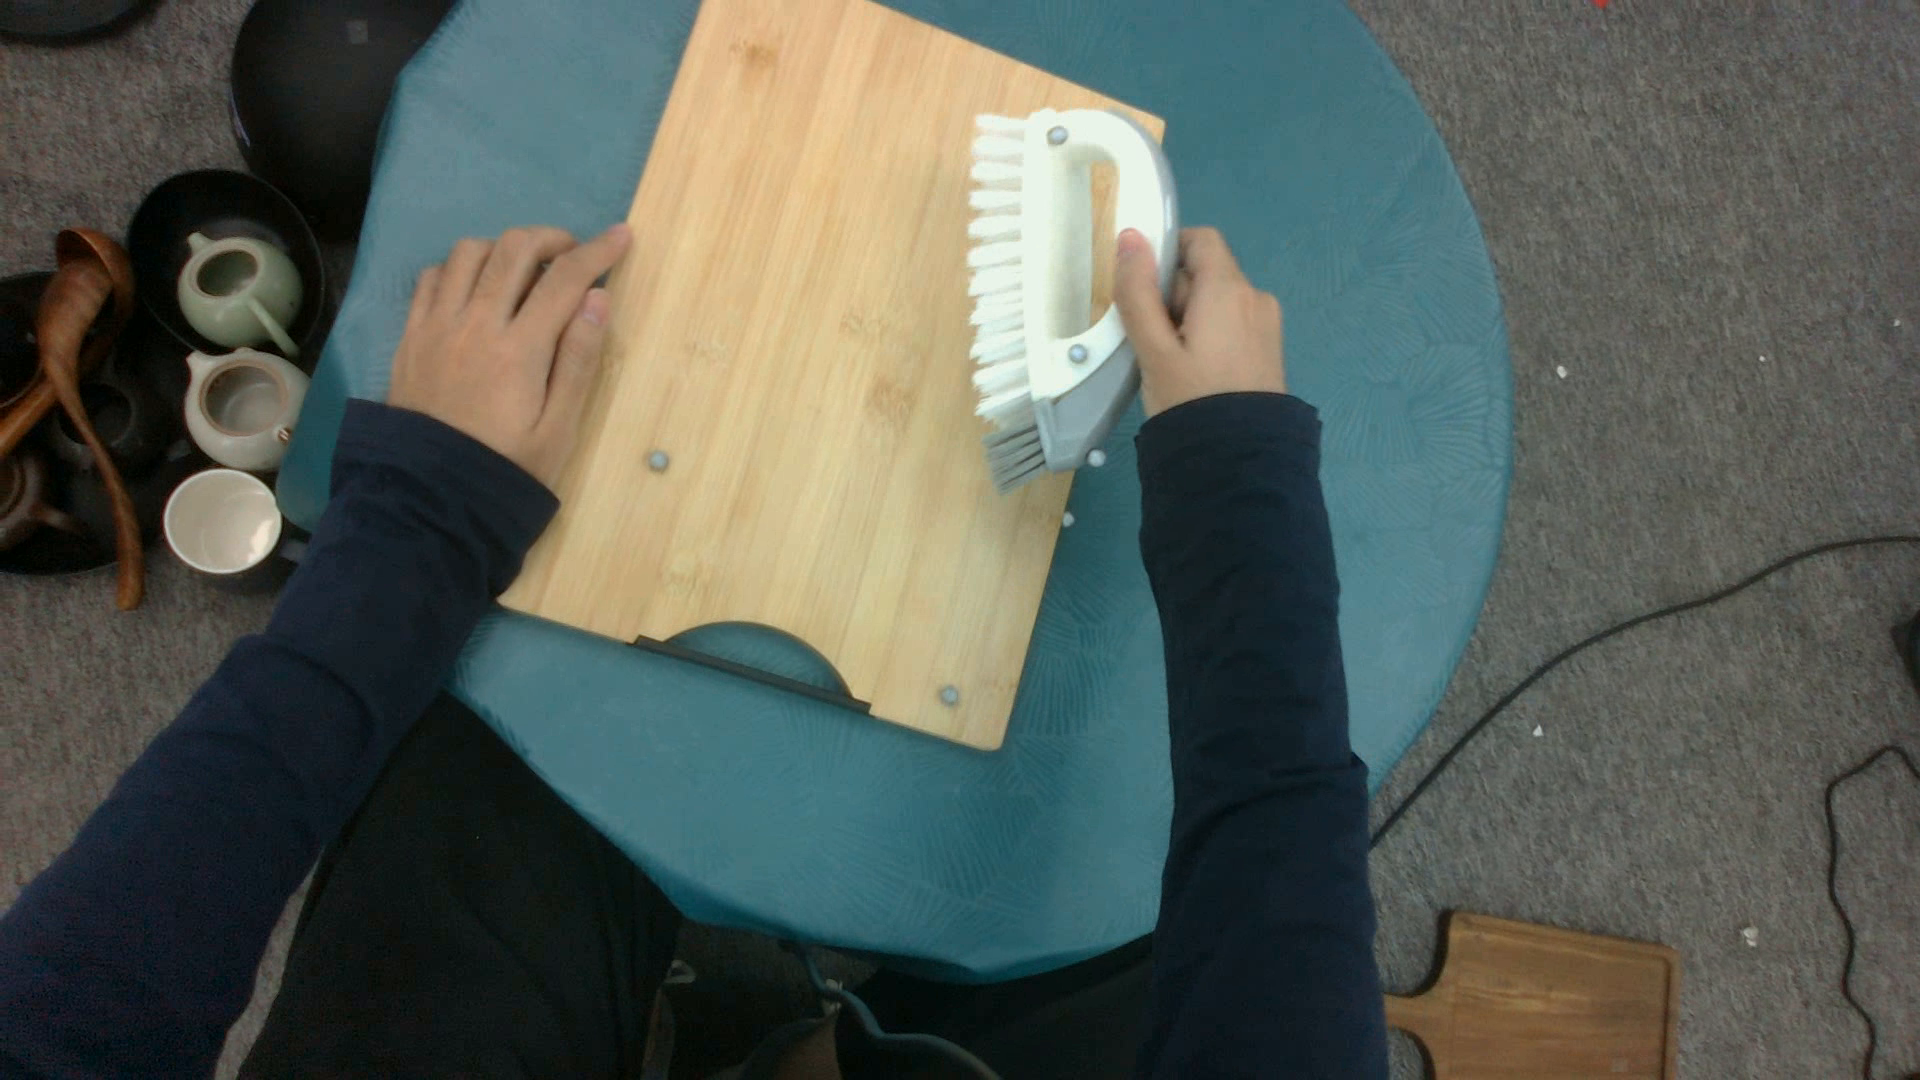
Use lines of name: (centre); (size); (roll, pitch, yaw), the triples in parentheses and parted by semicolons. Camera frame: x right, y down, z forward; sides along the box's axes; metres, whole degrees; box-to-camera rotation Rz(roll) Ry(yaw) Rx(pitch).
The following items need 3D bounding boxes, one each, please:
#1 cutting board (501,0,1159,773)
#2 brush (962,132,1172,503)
cutting board: (-0.052, -0.082, 0.688); (0.251, 0.023, 0.349); (16, 77, -9)
brush: (0.054, -0.107, 0.639); (0.061, 0.094, 0.176); (22, 66, -55)
